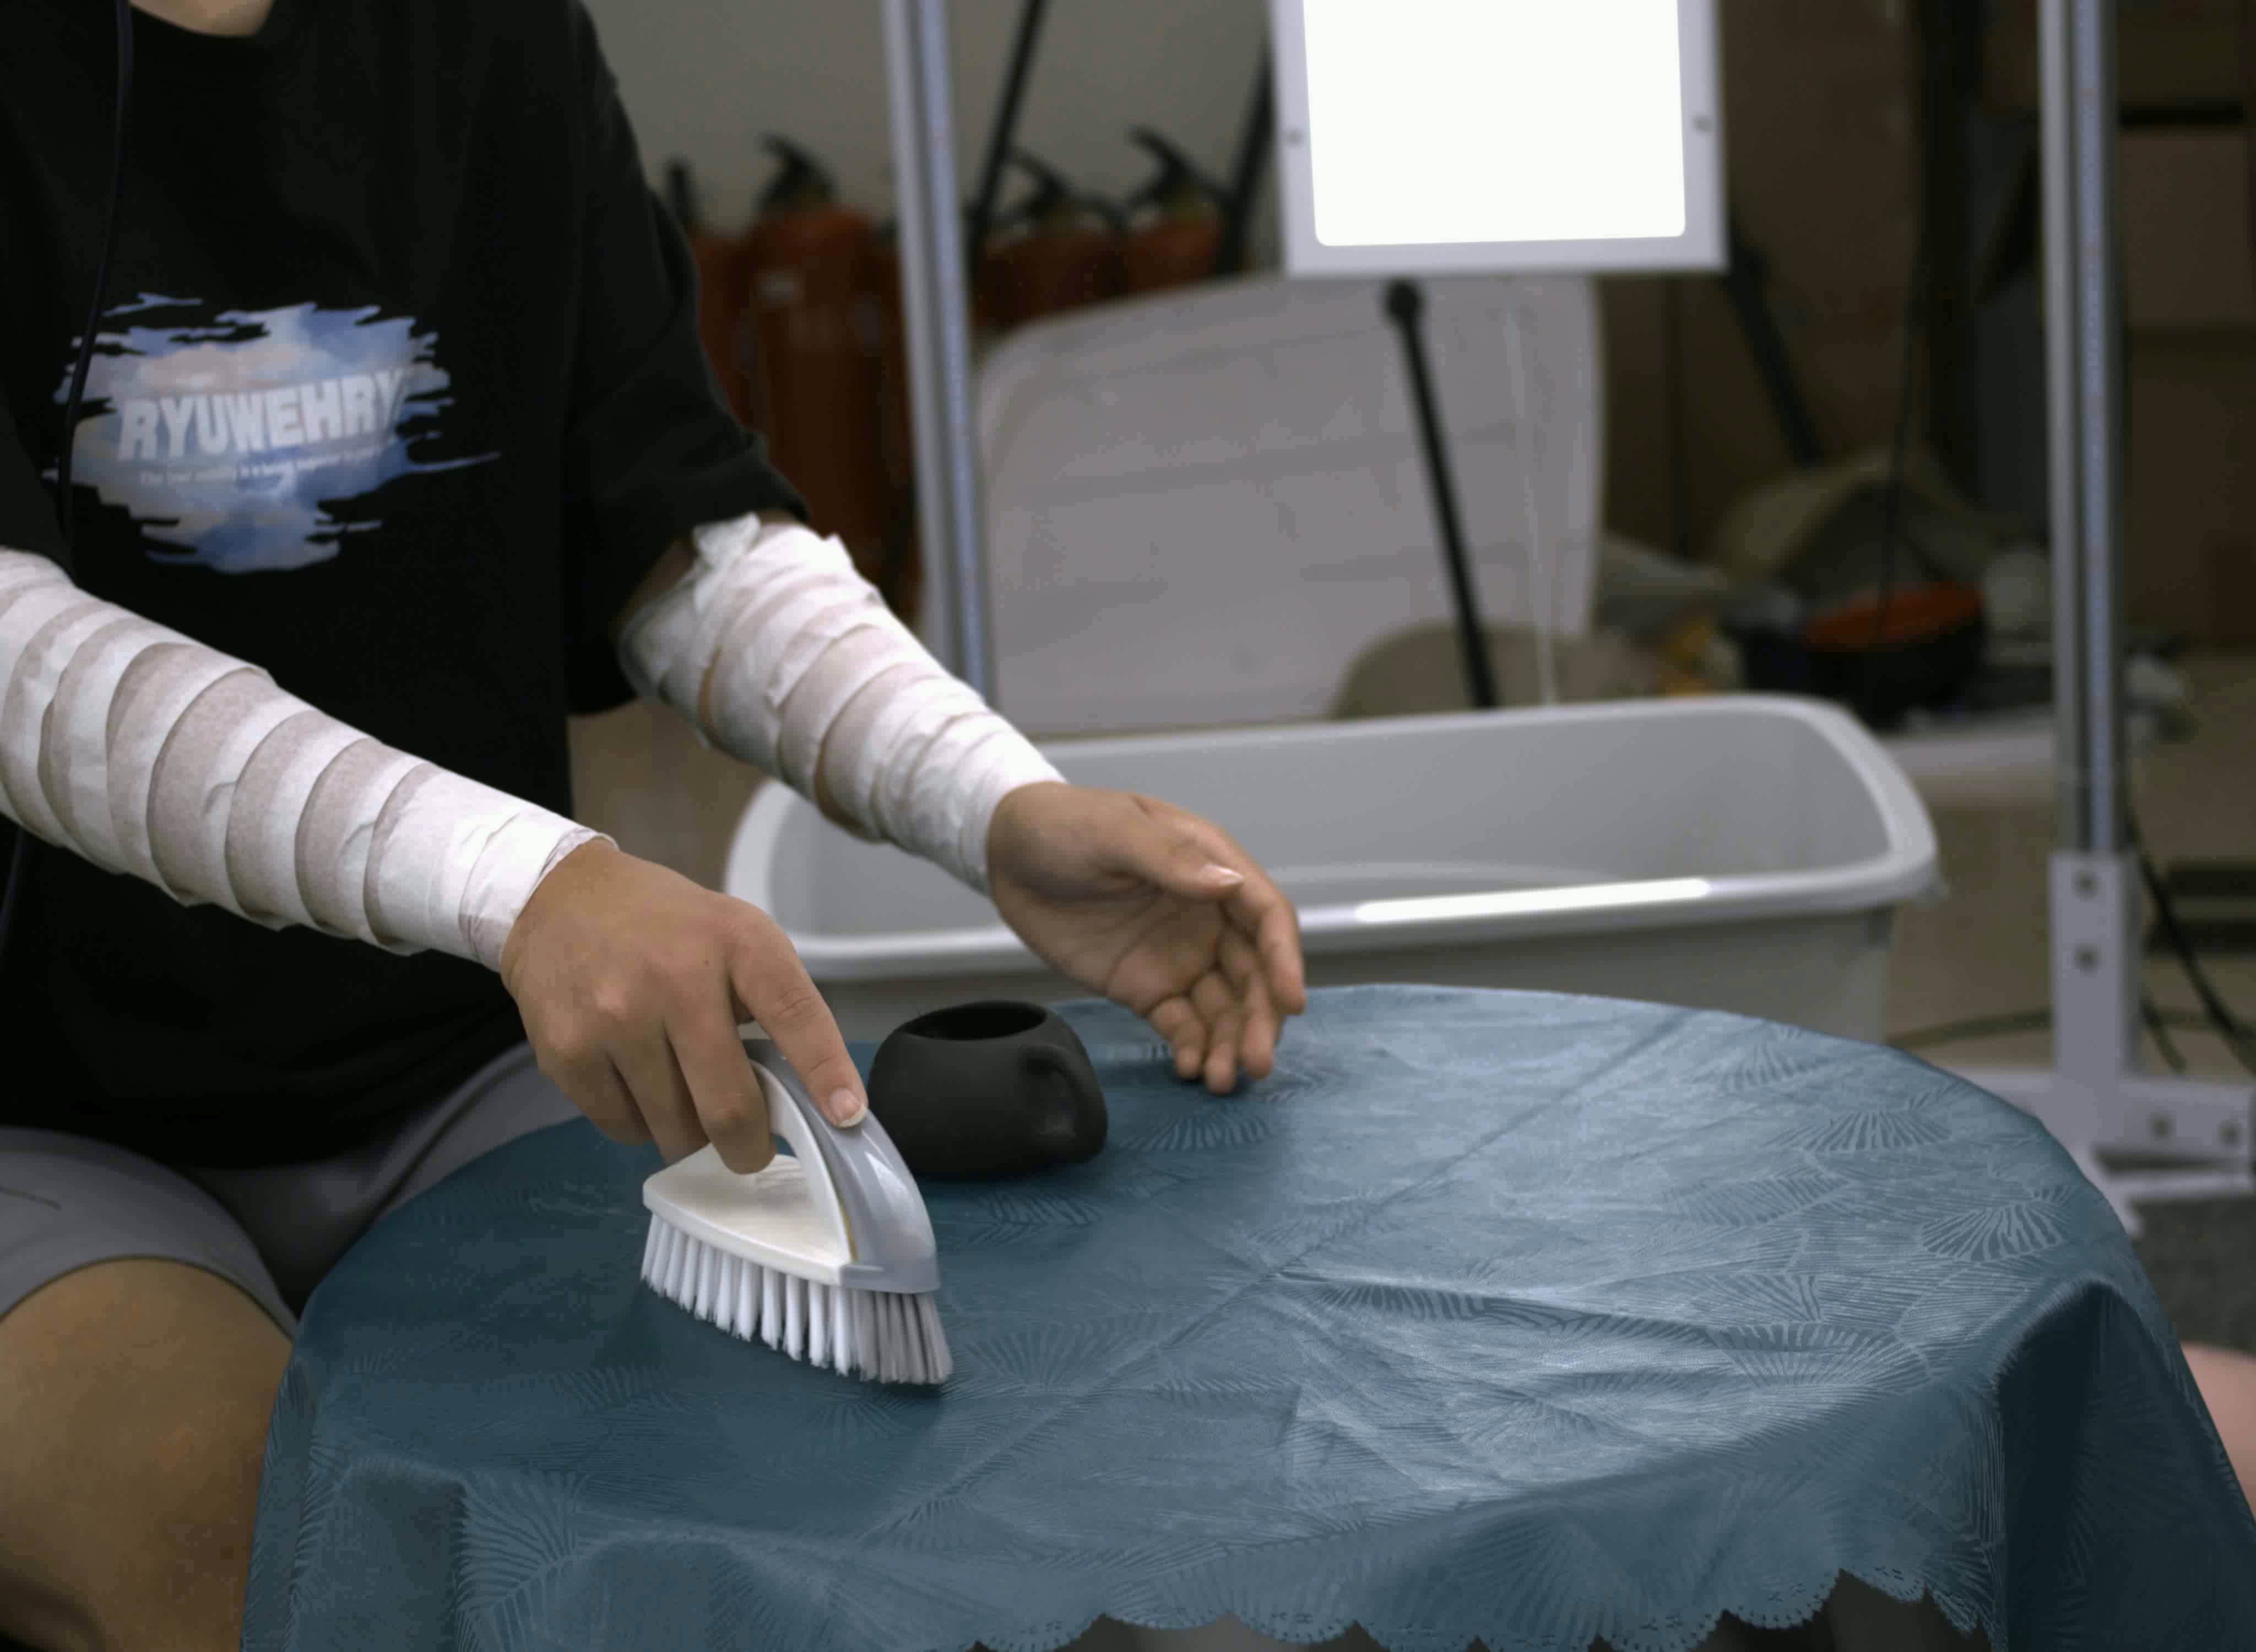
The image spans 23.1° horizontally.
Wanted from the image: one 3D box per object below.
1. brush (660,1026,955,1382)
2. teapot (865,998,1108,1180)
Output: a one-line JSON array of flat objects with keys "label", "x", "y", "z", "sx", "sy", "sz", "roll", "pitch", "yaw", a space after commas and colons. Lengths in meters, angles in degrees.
[{"label": "brush", "x": -0.100, "y": 0.118, "z": 1.777, "sx": 0.060, "sy": 0.094, "sz": 0.178, "roll": -14, "pitch": 17, "yaw": -23}, {"label": "teapot", "x": -0.045, "y": 0.094, "z": 1.941, "sx": 0.081, "sy": 0.053, "sz": 0.116, "roll": -14, "pitch": 14, "yaw": -35}]
